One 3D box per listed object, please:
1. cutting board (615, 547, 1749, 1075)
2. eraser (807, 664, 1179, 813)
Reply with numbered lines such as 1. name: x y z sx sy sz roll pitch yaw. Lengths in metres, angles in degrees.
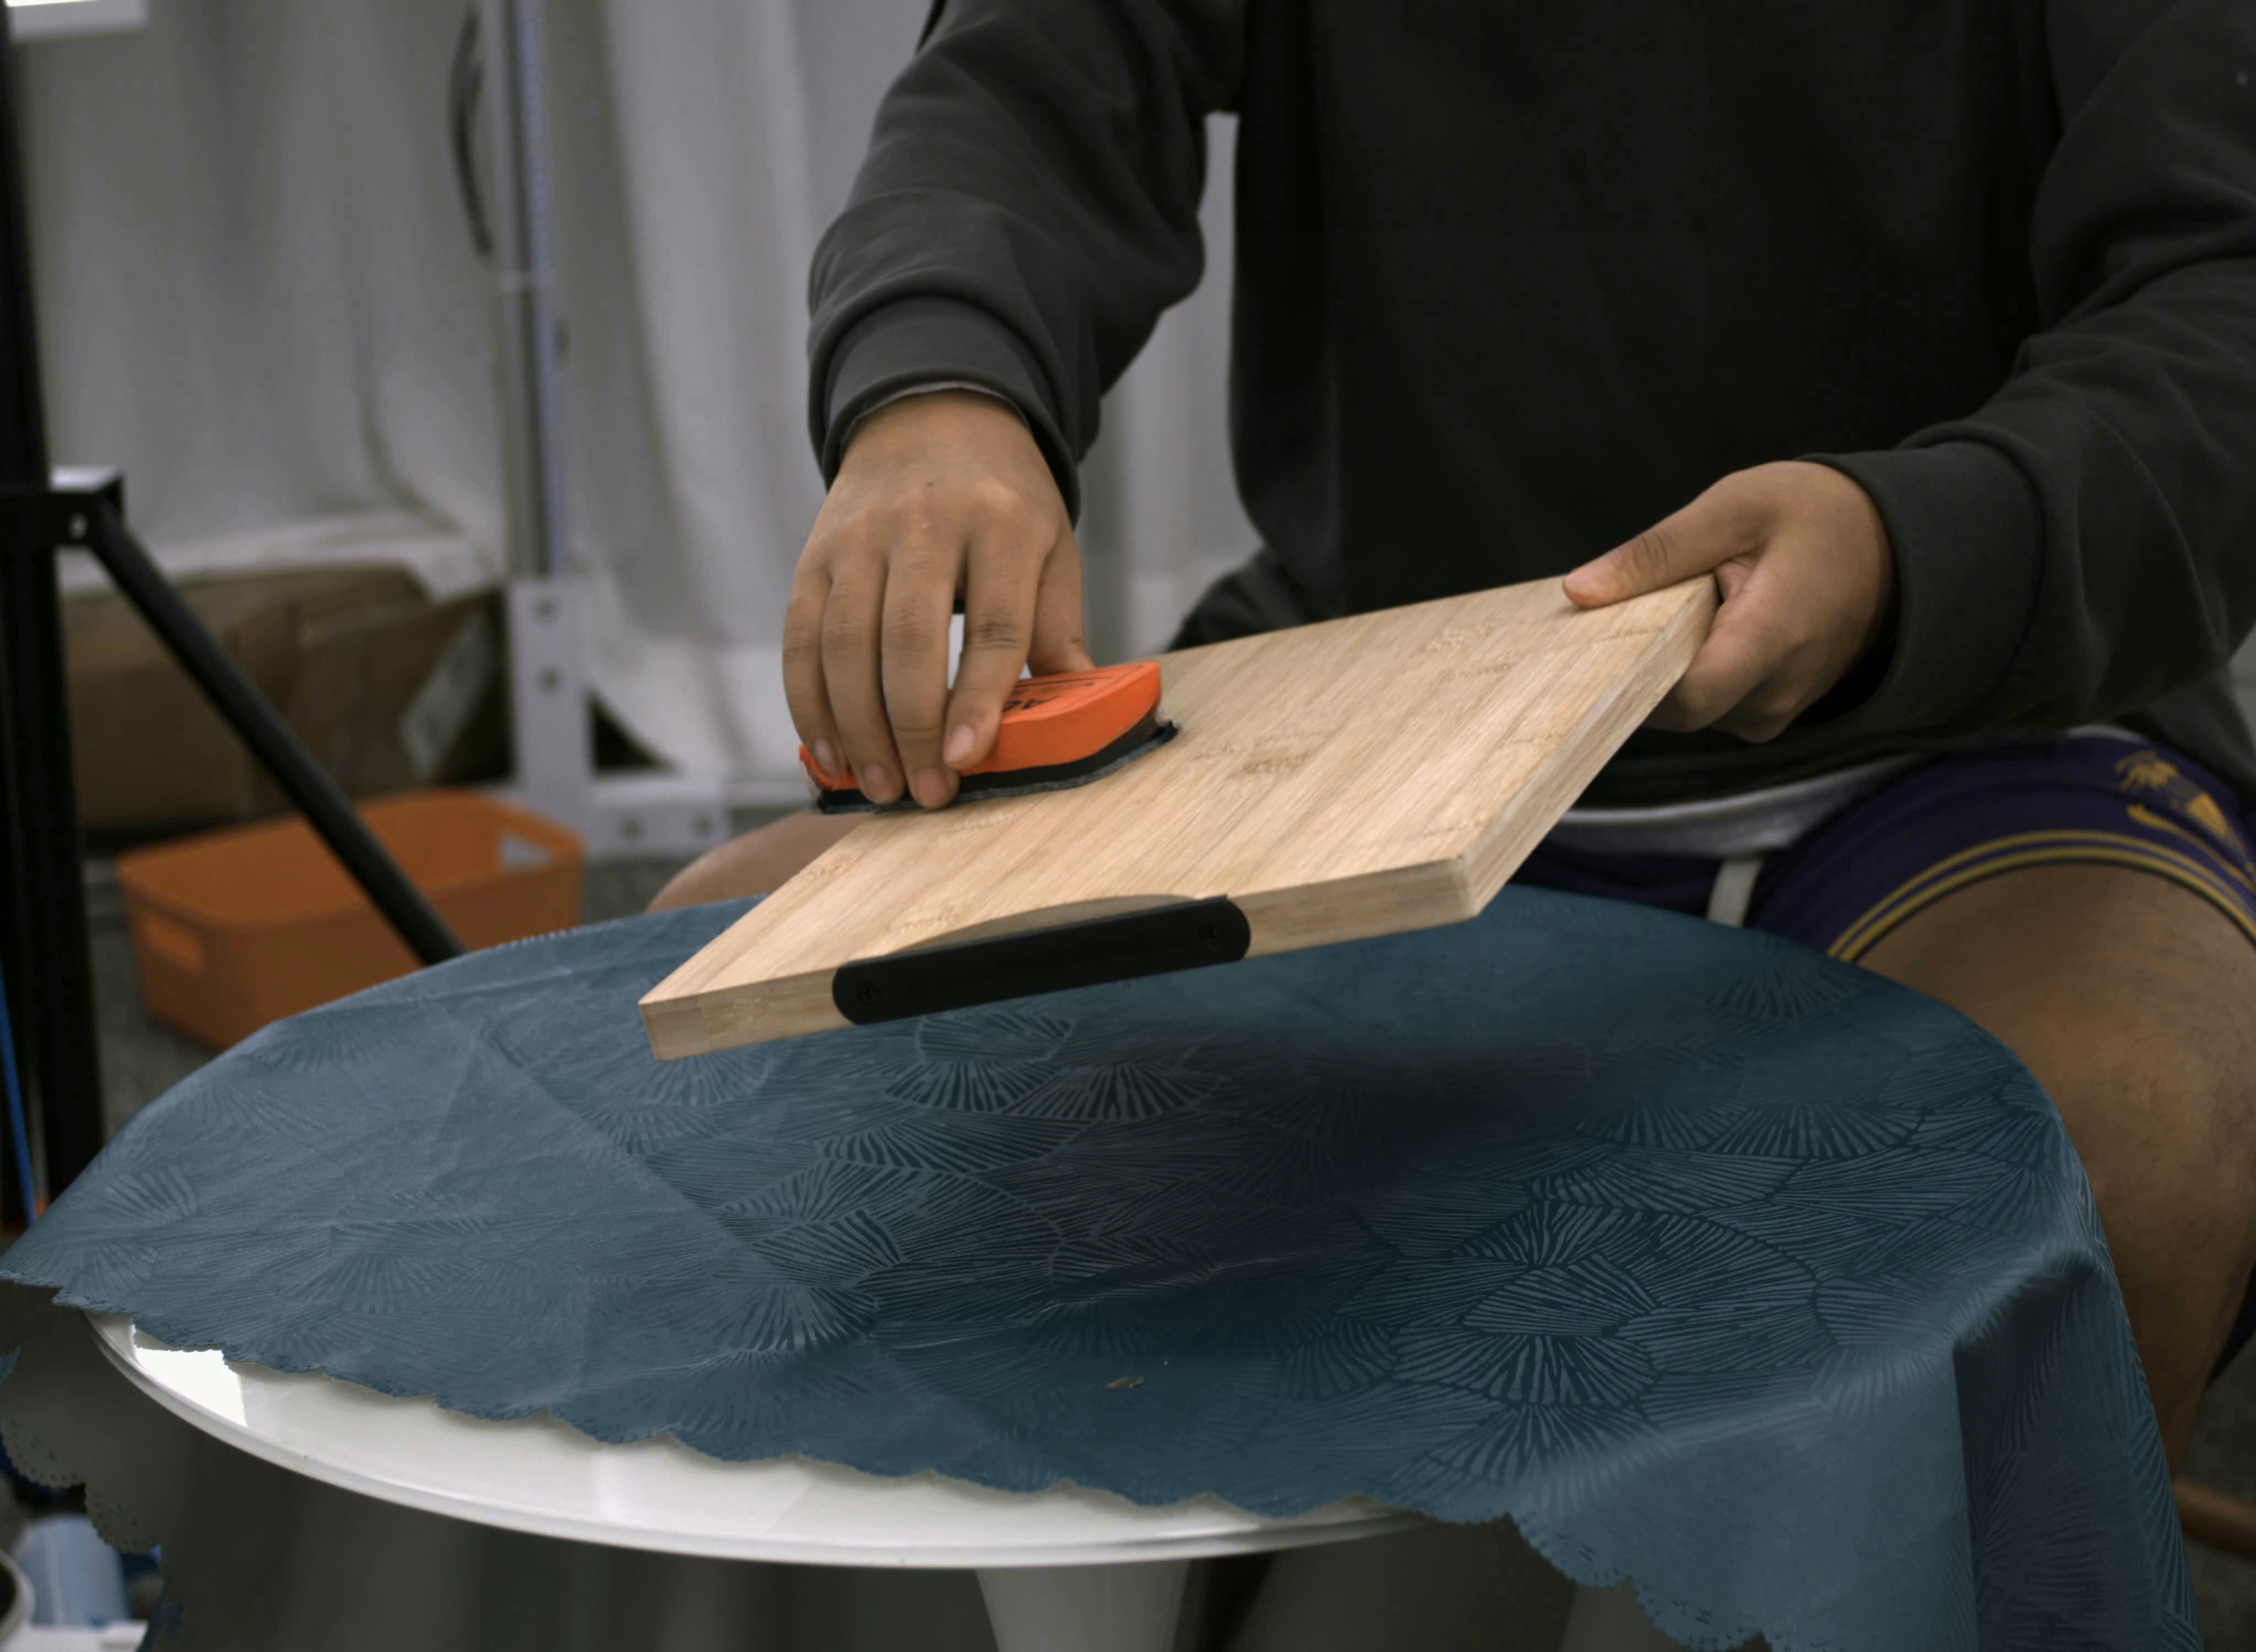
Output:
1. cutting board: 0.028 -0.009 1.539 0.253 0.023 0.345 -11 13 22
2. eraser: -0.040 -0.026 1.606 0.110 0.023 0.058 -6 14 38
